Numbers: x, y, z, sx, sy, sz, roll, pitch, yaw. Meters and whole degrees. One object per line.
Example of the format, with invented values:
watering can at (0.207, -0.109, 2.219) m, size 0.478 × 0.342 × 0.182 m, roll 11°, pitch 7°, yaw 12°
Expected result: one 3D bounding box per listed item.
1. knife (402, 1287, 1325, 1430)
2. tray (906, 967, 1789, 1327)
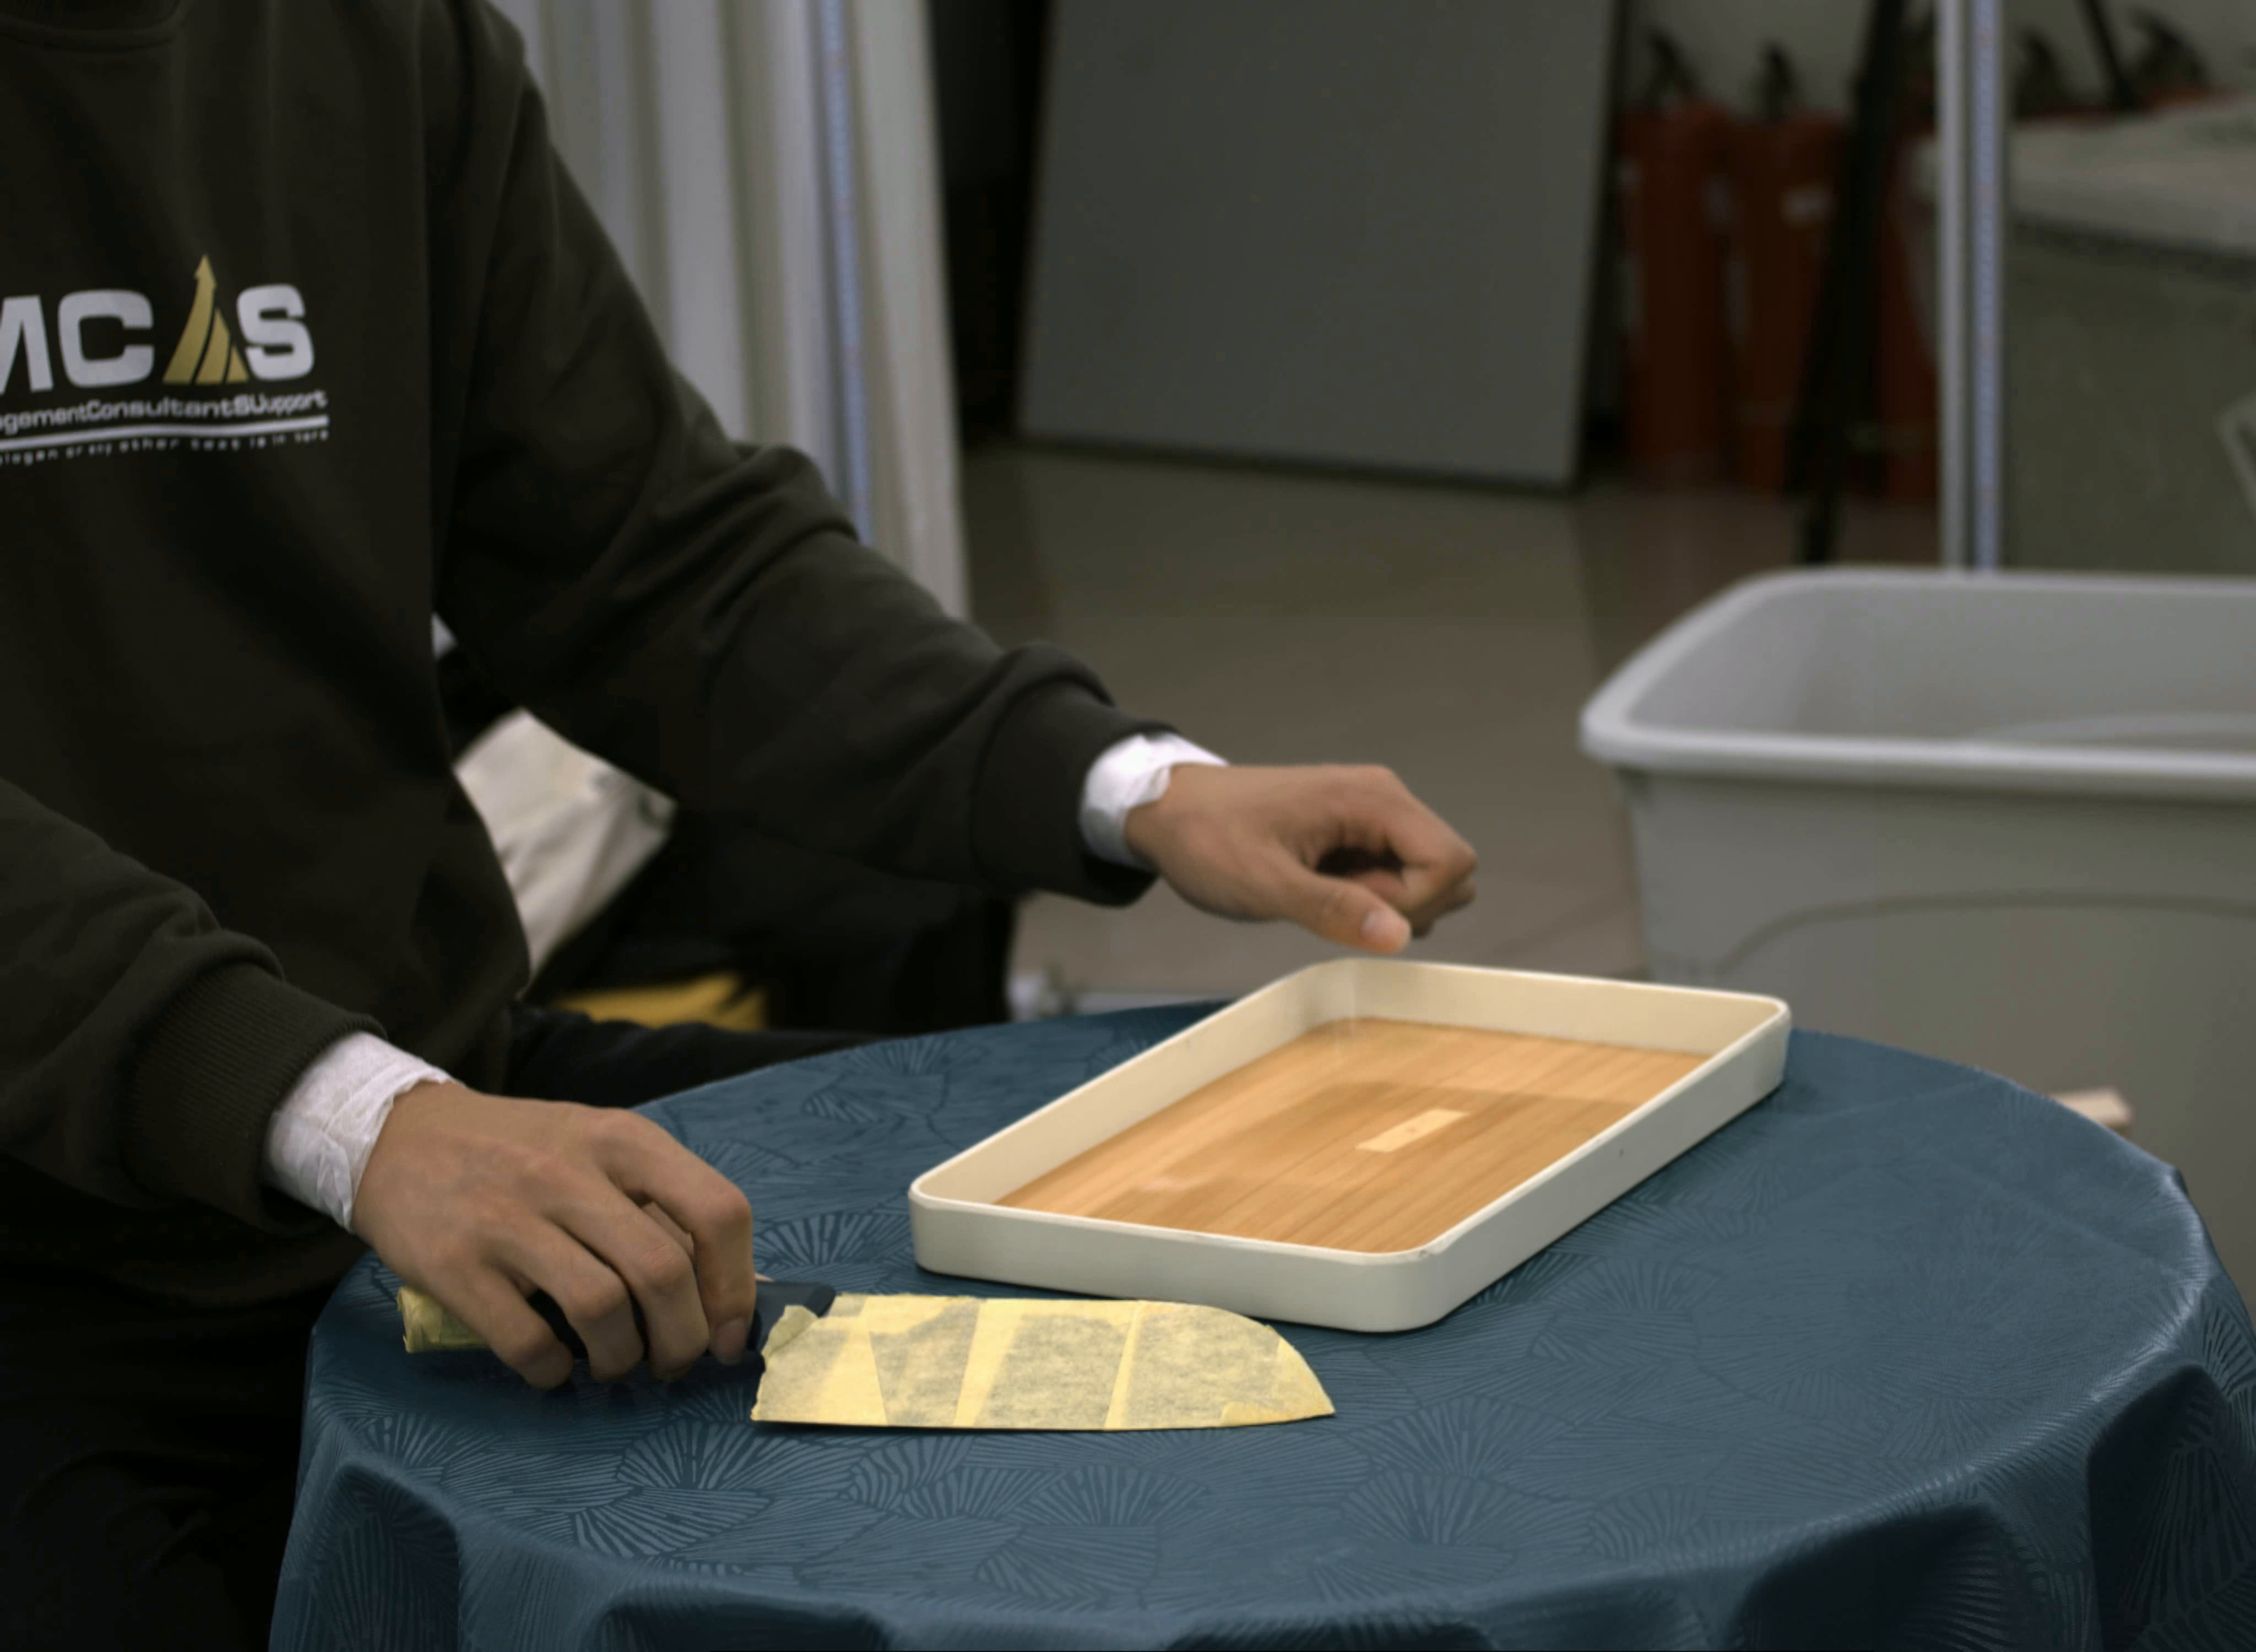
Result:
knife at (-0.081, 0.158, 1.599) m, size 0.288 × 0.027 × 0.081 m, roll 0°, pitch 23°, yaw 13°
tray at (0.079, 0.101, 1.777) m, size 0.192 × 0.028 × 0.295 m, roll 3°, pitch 15°, yaw 32°
